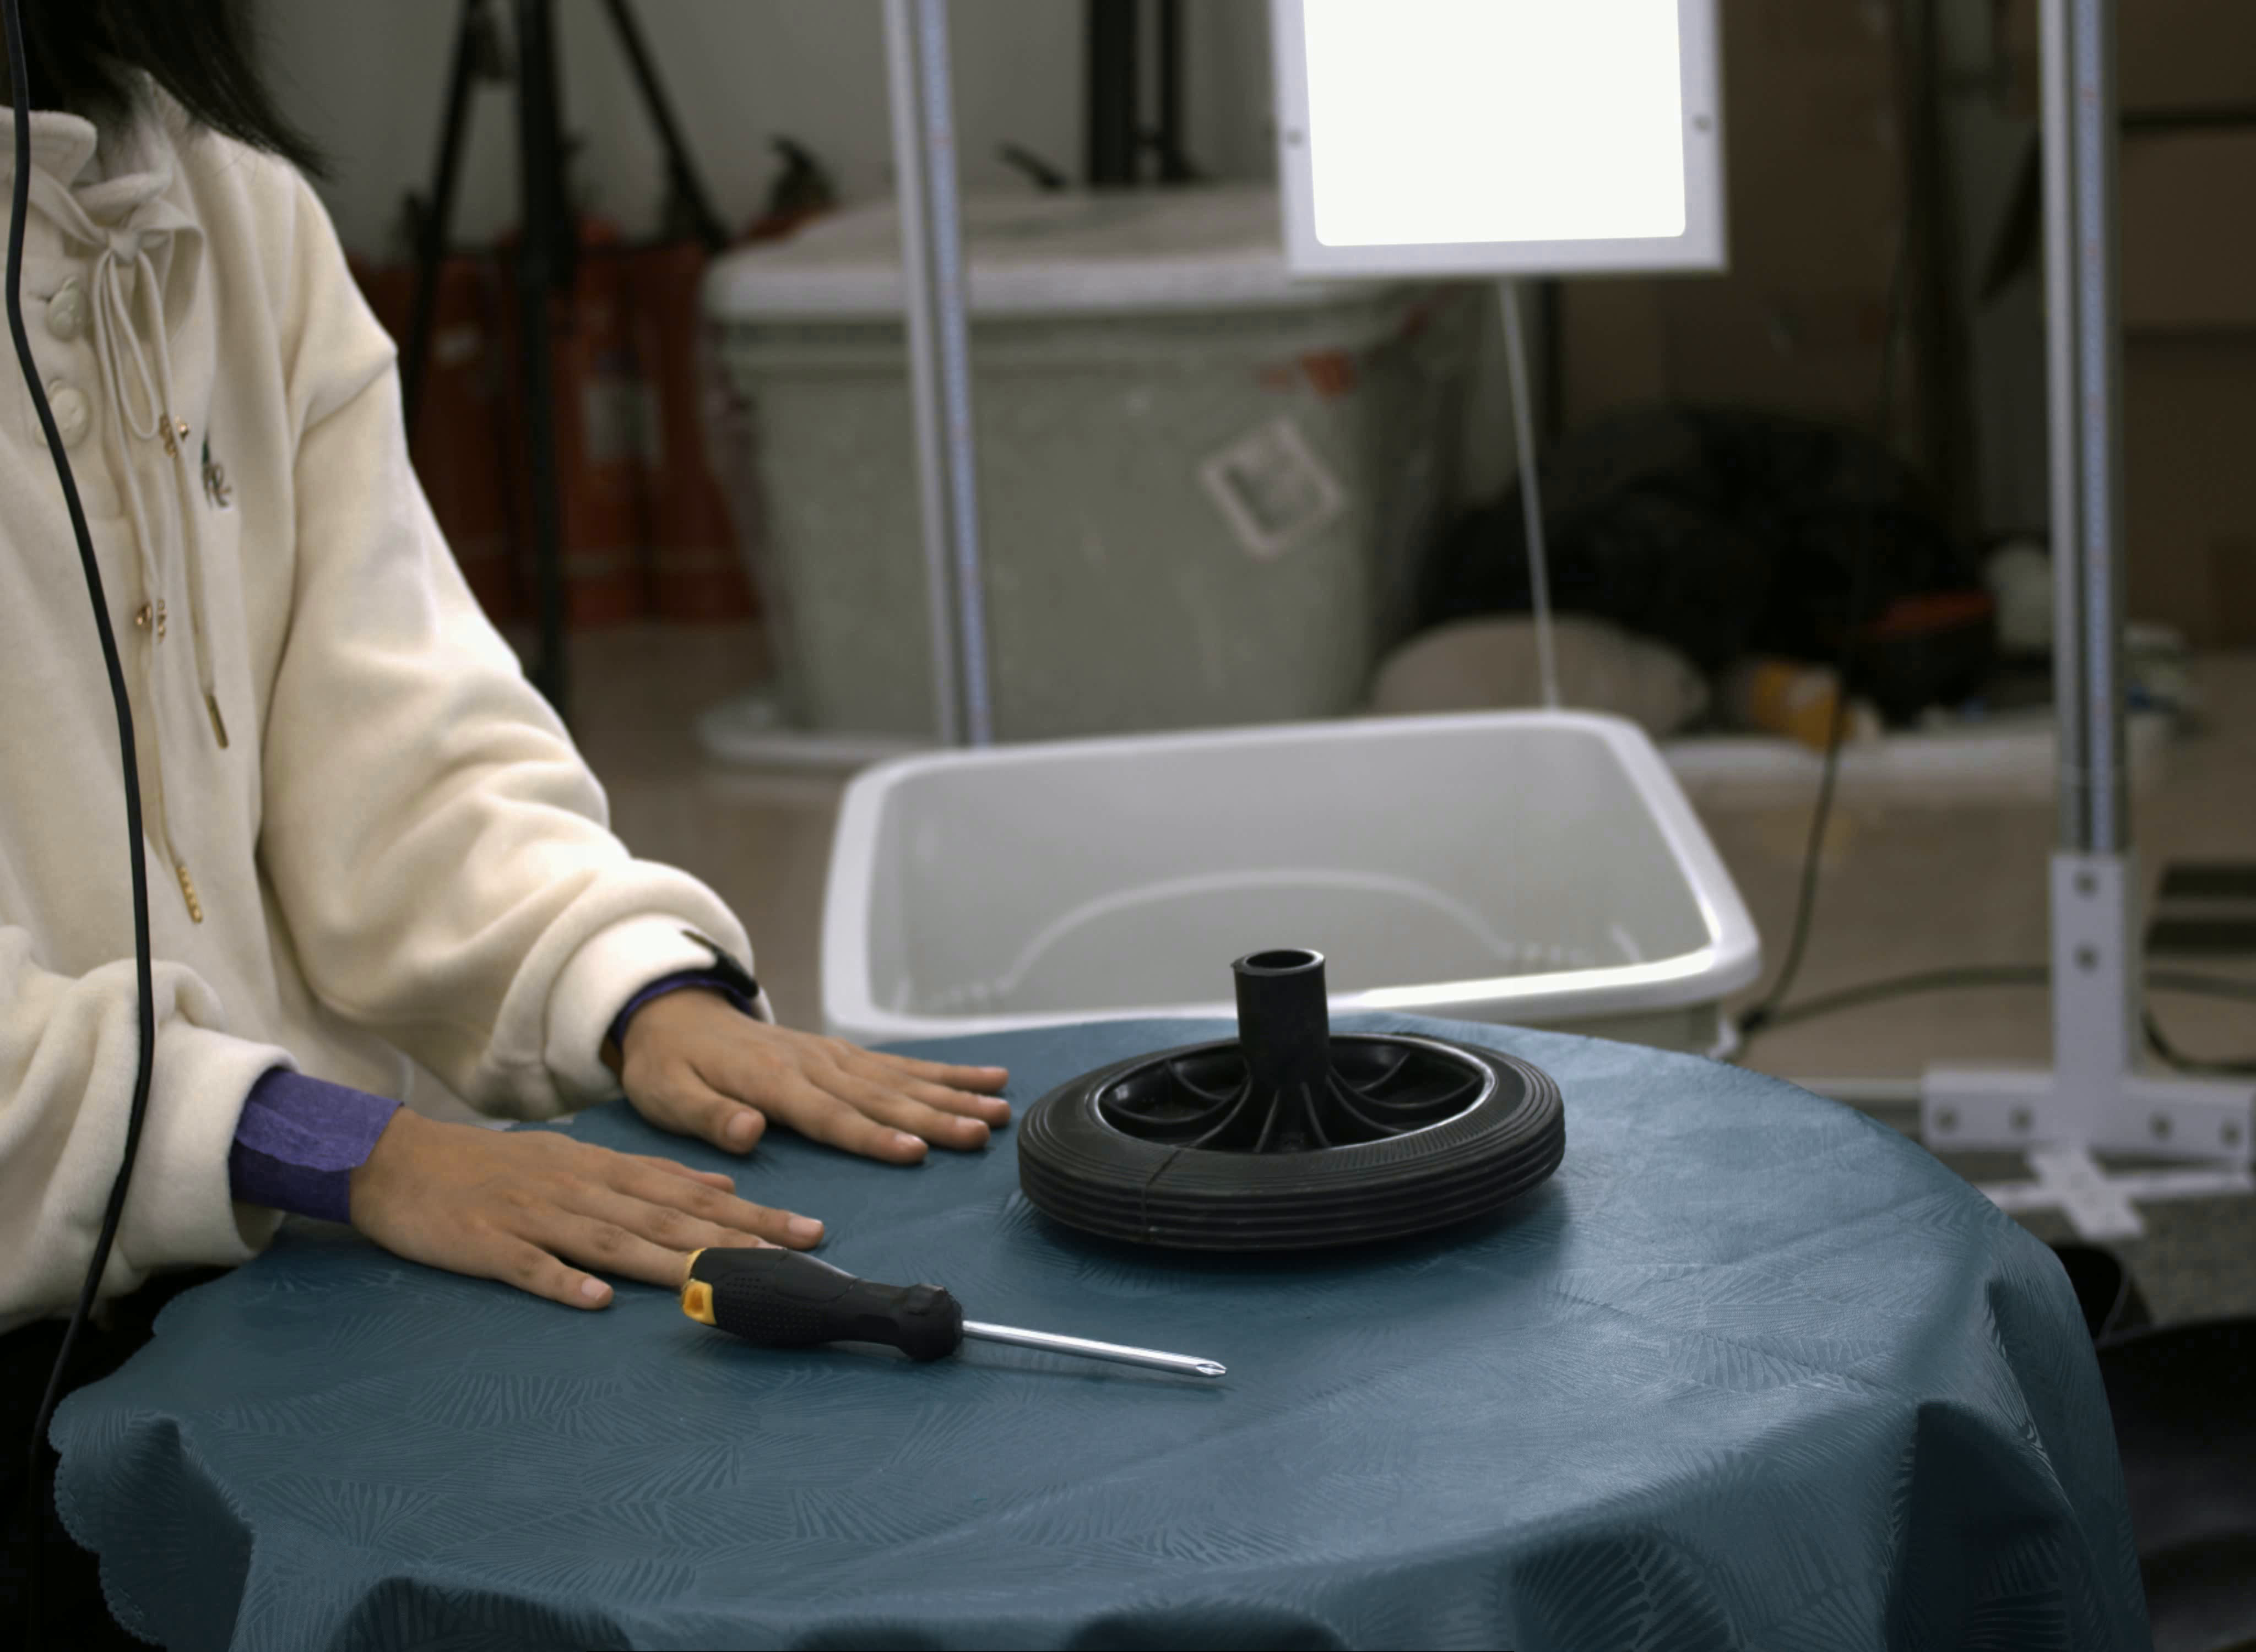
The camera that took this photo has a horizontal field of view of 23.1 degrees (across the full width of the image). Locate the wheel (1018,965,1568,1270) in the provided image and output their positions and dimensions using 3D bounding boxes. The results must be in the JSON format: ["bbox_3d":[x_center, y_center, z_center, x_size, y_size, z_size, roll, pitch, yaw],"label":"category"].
[{"bbox_3d":[0.055,0.090,1.872,0.184,0.079,0.192,-10,17,-19],"label":"wheel"}]

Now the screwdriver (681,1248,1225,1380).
[{"bbox_3d":[-0.055,0.156,1.746,0.199,0.031,0.031,5,16,27],"label":"screwdriver"}]
